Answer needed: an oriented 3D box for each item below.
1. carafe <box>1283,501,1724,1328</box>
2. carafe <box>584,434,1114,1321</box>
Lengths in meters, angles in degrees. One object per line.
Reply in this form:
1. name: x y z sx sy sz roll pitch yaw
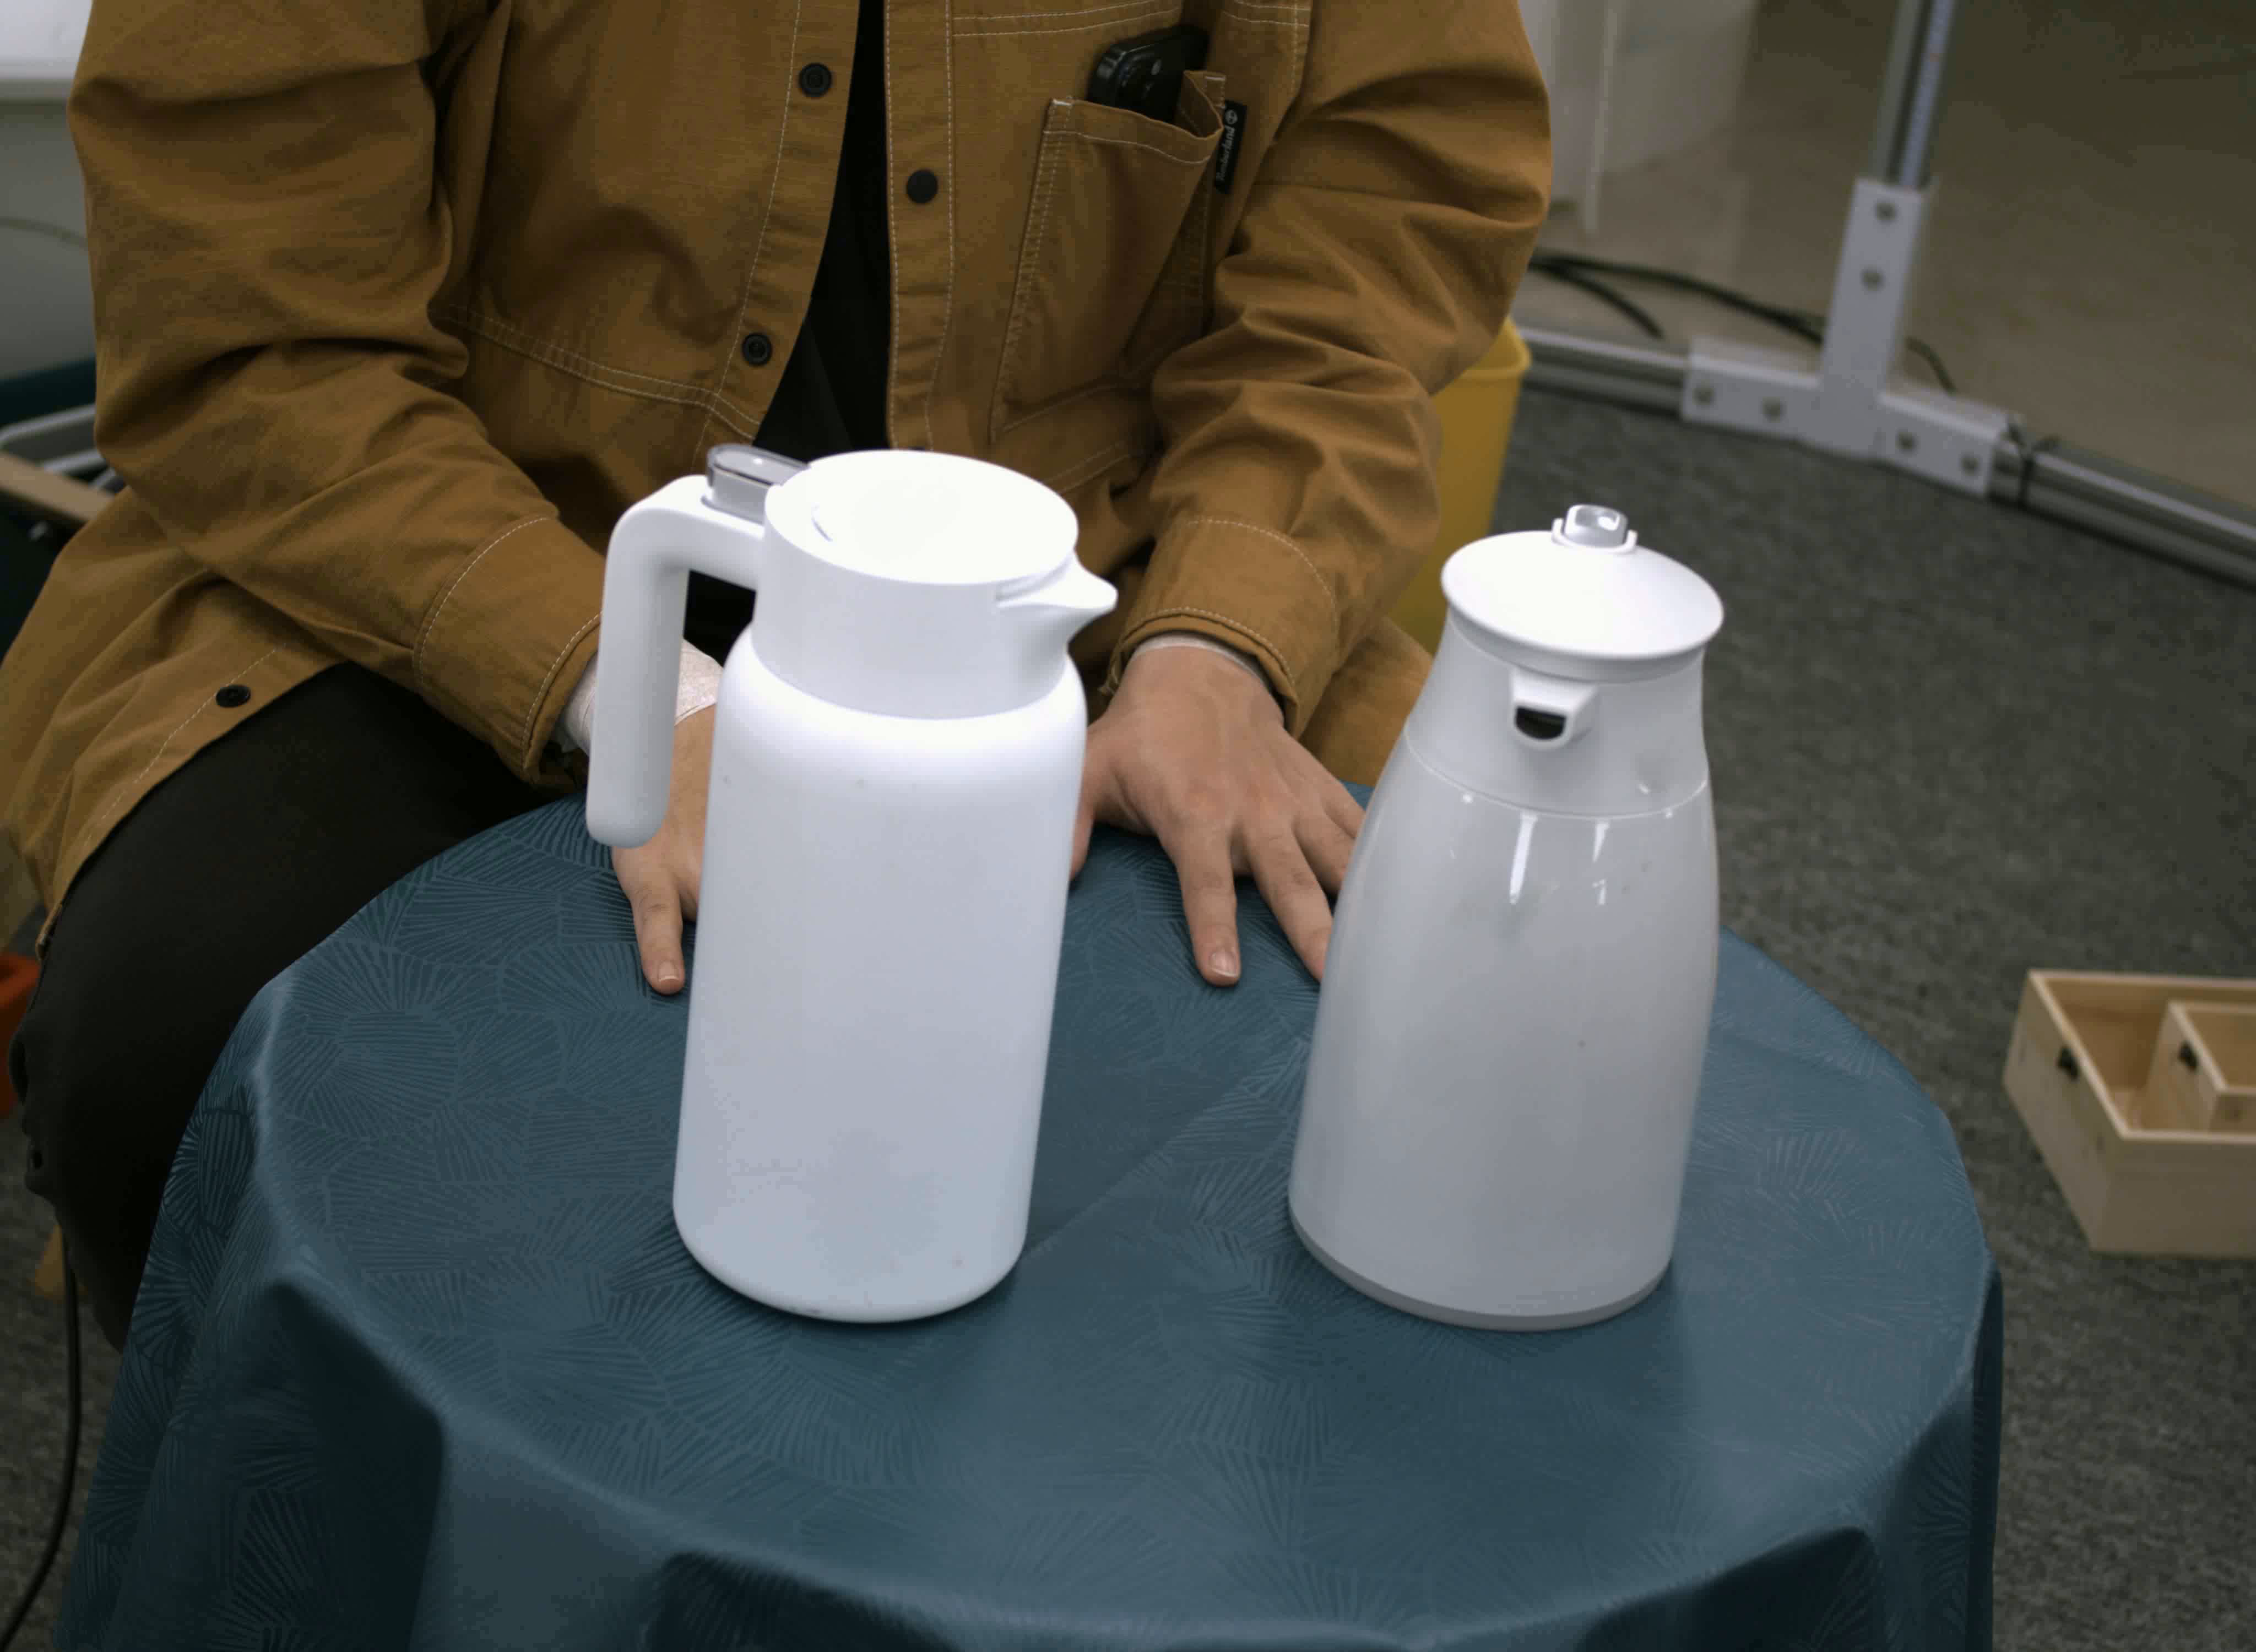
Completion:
1. carafe: 0.135 0.018 1.769 0.132 0.248 0.168 11 26 9
2. carafe: -0.095 0.014 1.705 0.173 0.268 0.124 18 30 21
